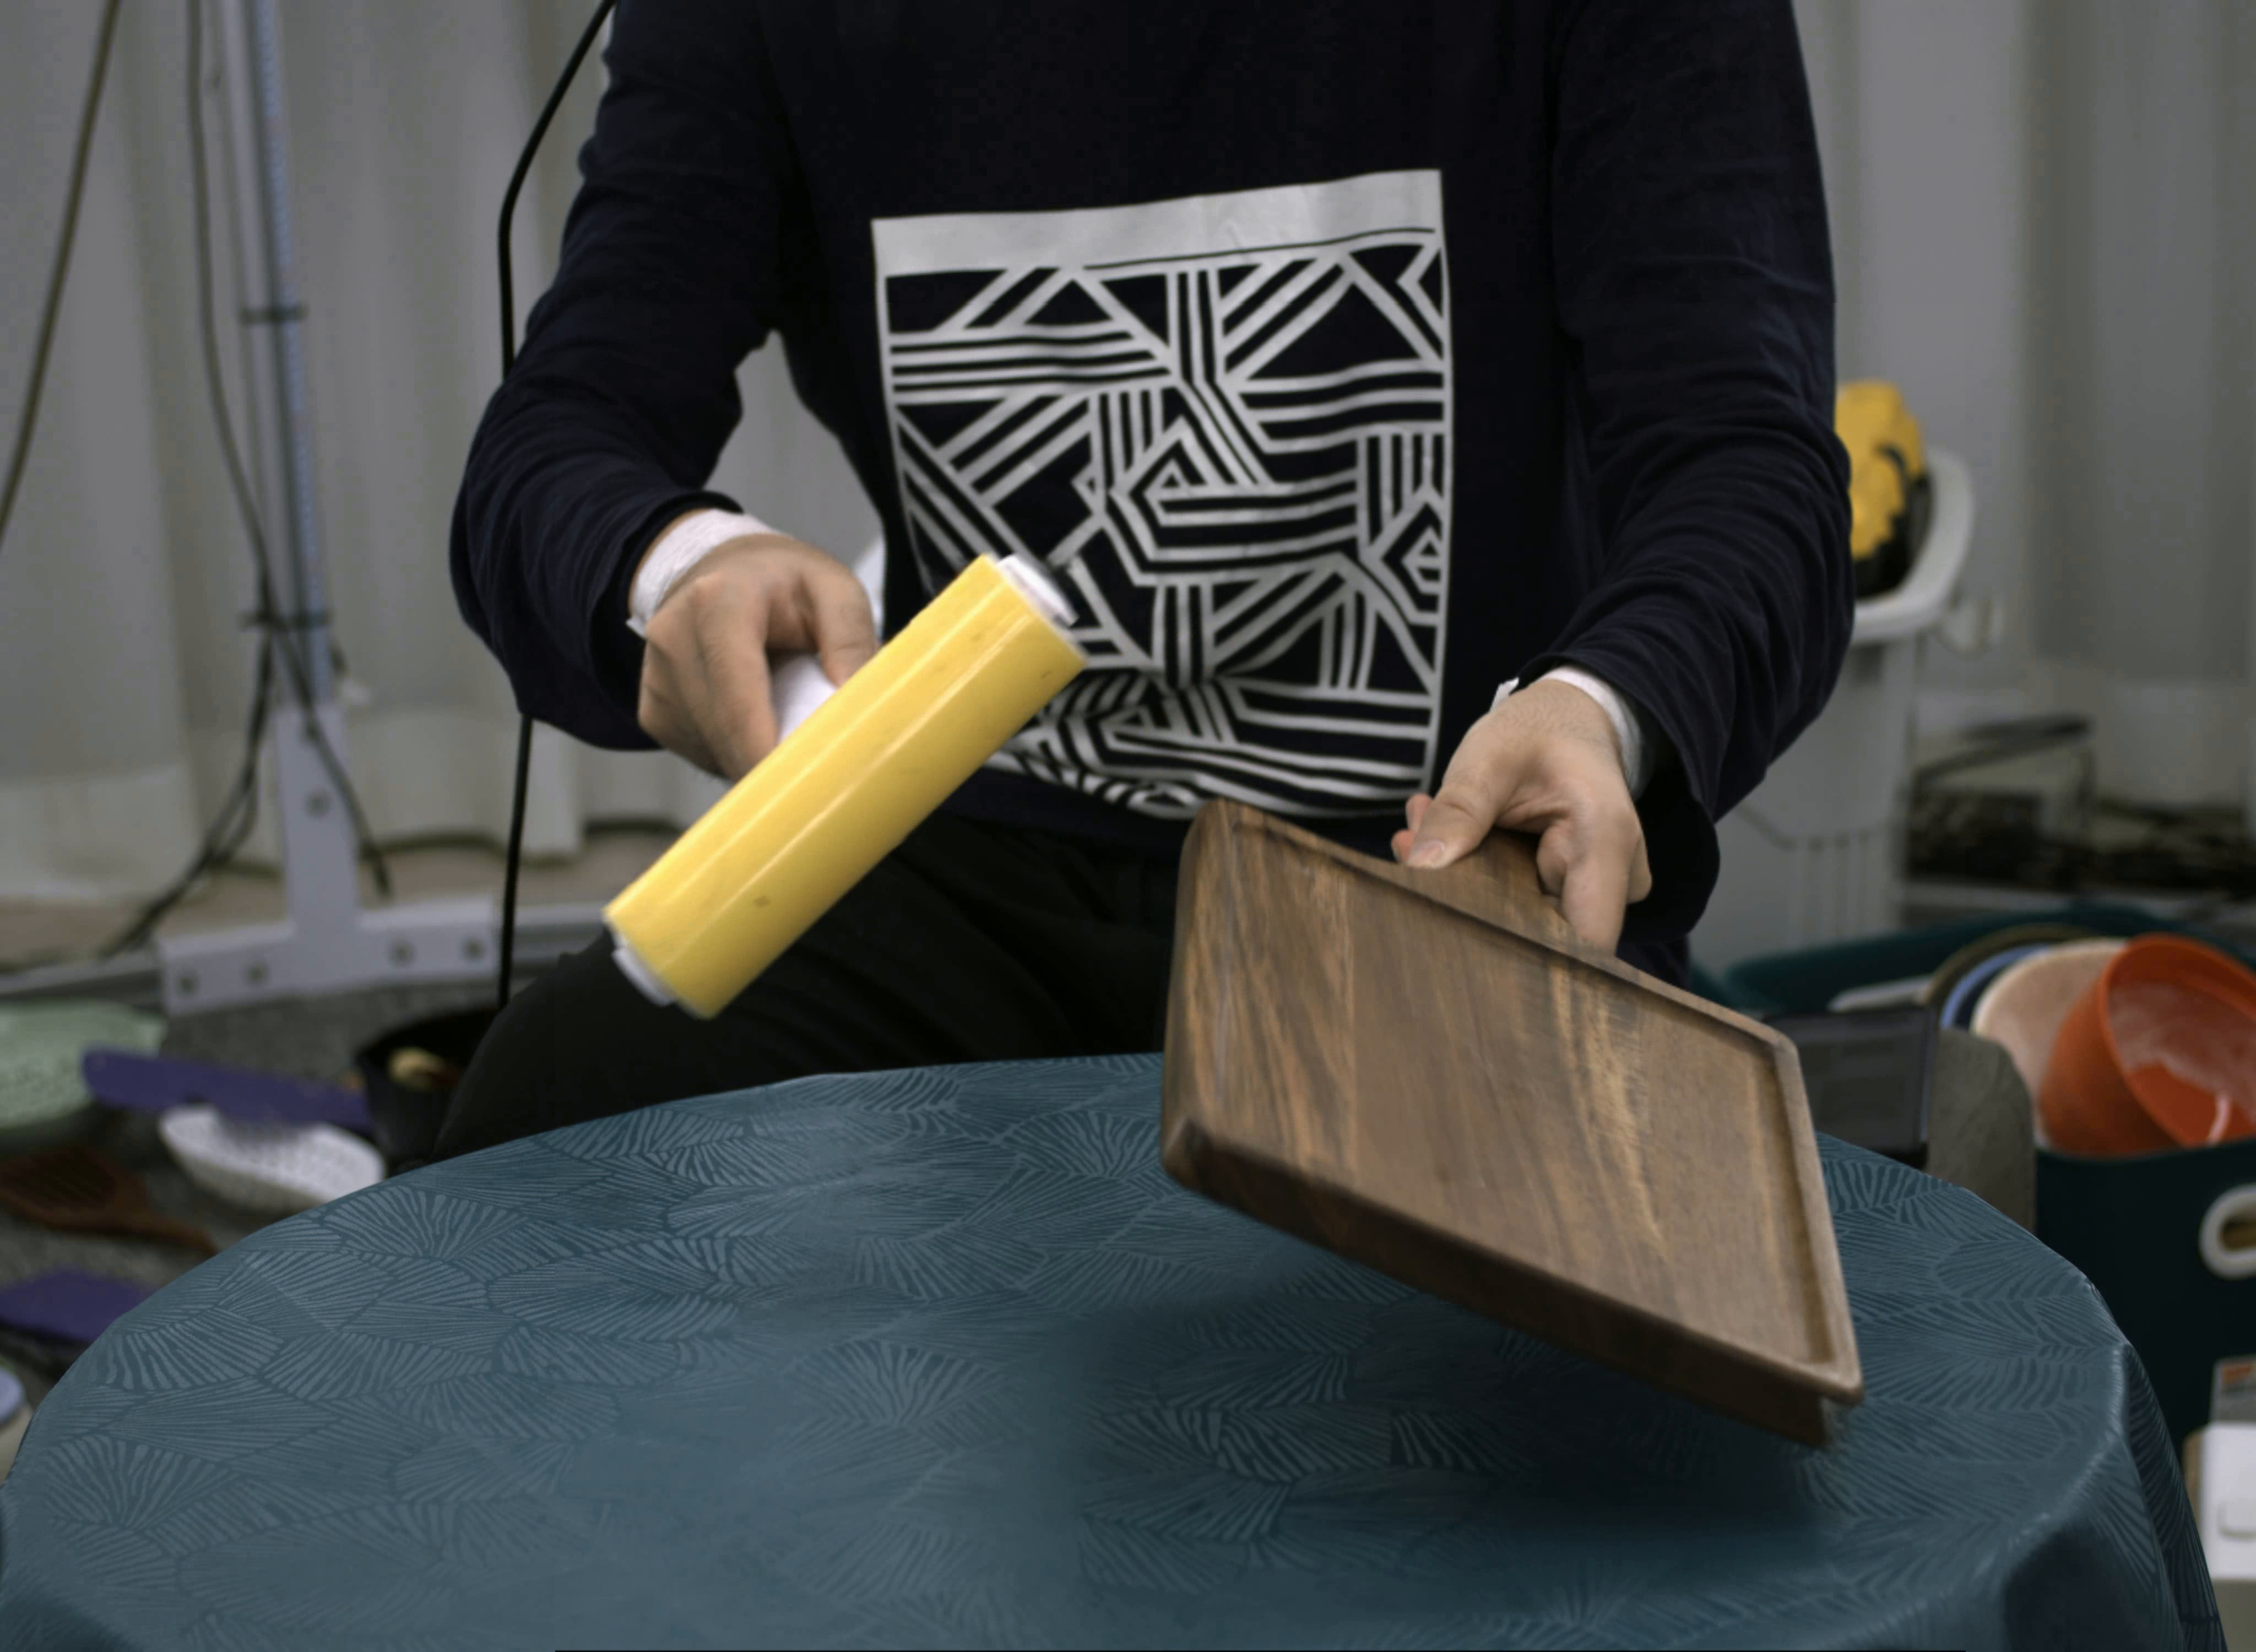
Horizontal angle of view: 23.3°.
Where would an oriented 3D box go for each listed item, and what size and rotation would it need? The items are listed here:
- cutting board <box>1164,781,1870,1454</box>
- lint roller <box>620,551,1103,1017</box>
[{"bbox_3d":[0.105,0.059,1.568,0.200,0.023,0.355,24,19,-7],"label":"cutting board"},{"bbox_3d":[-0.105,-0.036,1.738,0.174,0.051,0.194,-44,29,-1],"label":"lint roller"}]
